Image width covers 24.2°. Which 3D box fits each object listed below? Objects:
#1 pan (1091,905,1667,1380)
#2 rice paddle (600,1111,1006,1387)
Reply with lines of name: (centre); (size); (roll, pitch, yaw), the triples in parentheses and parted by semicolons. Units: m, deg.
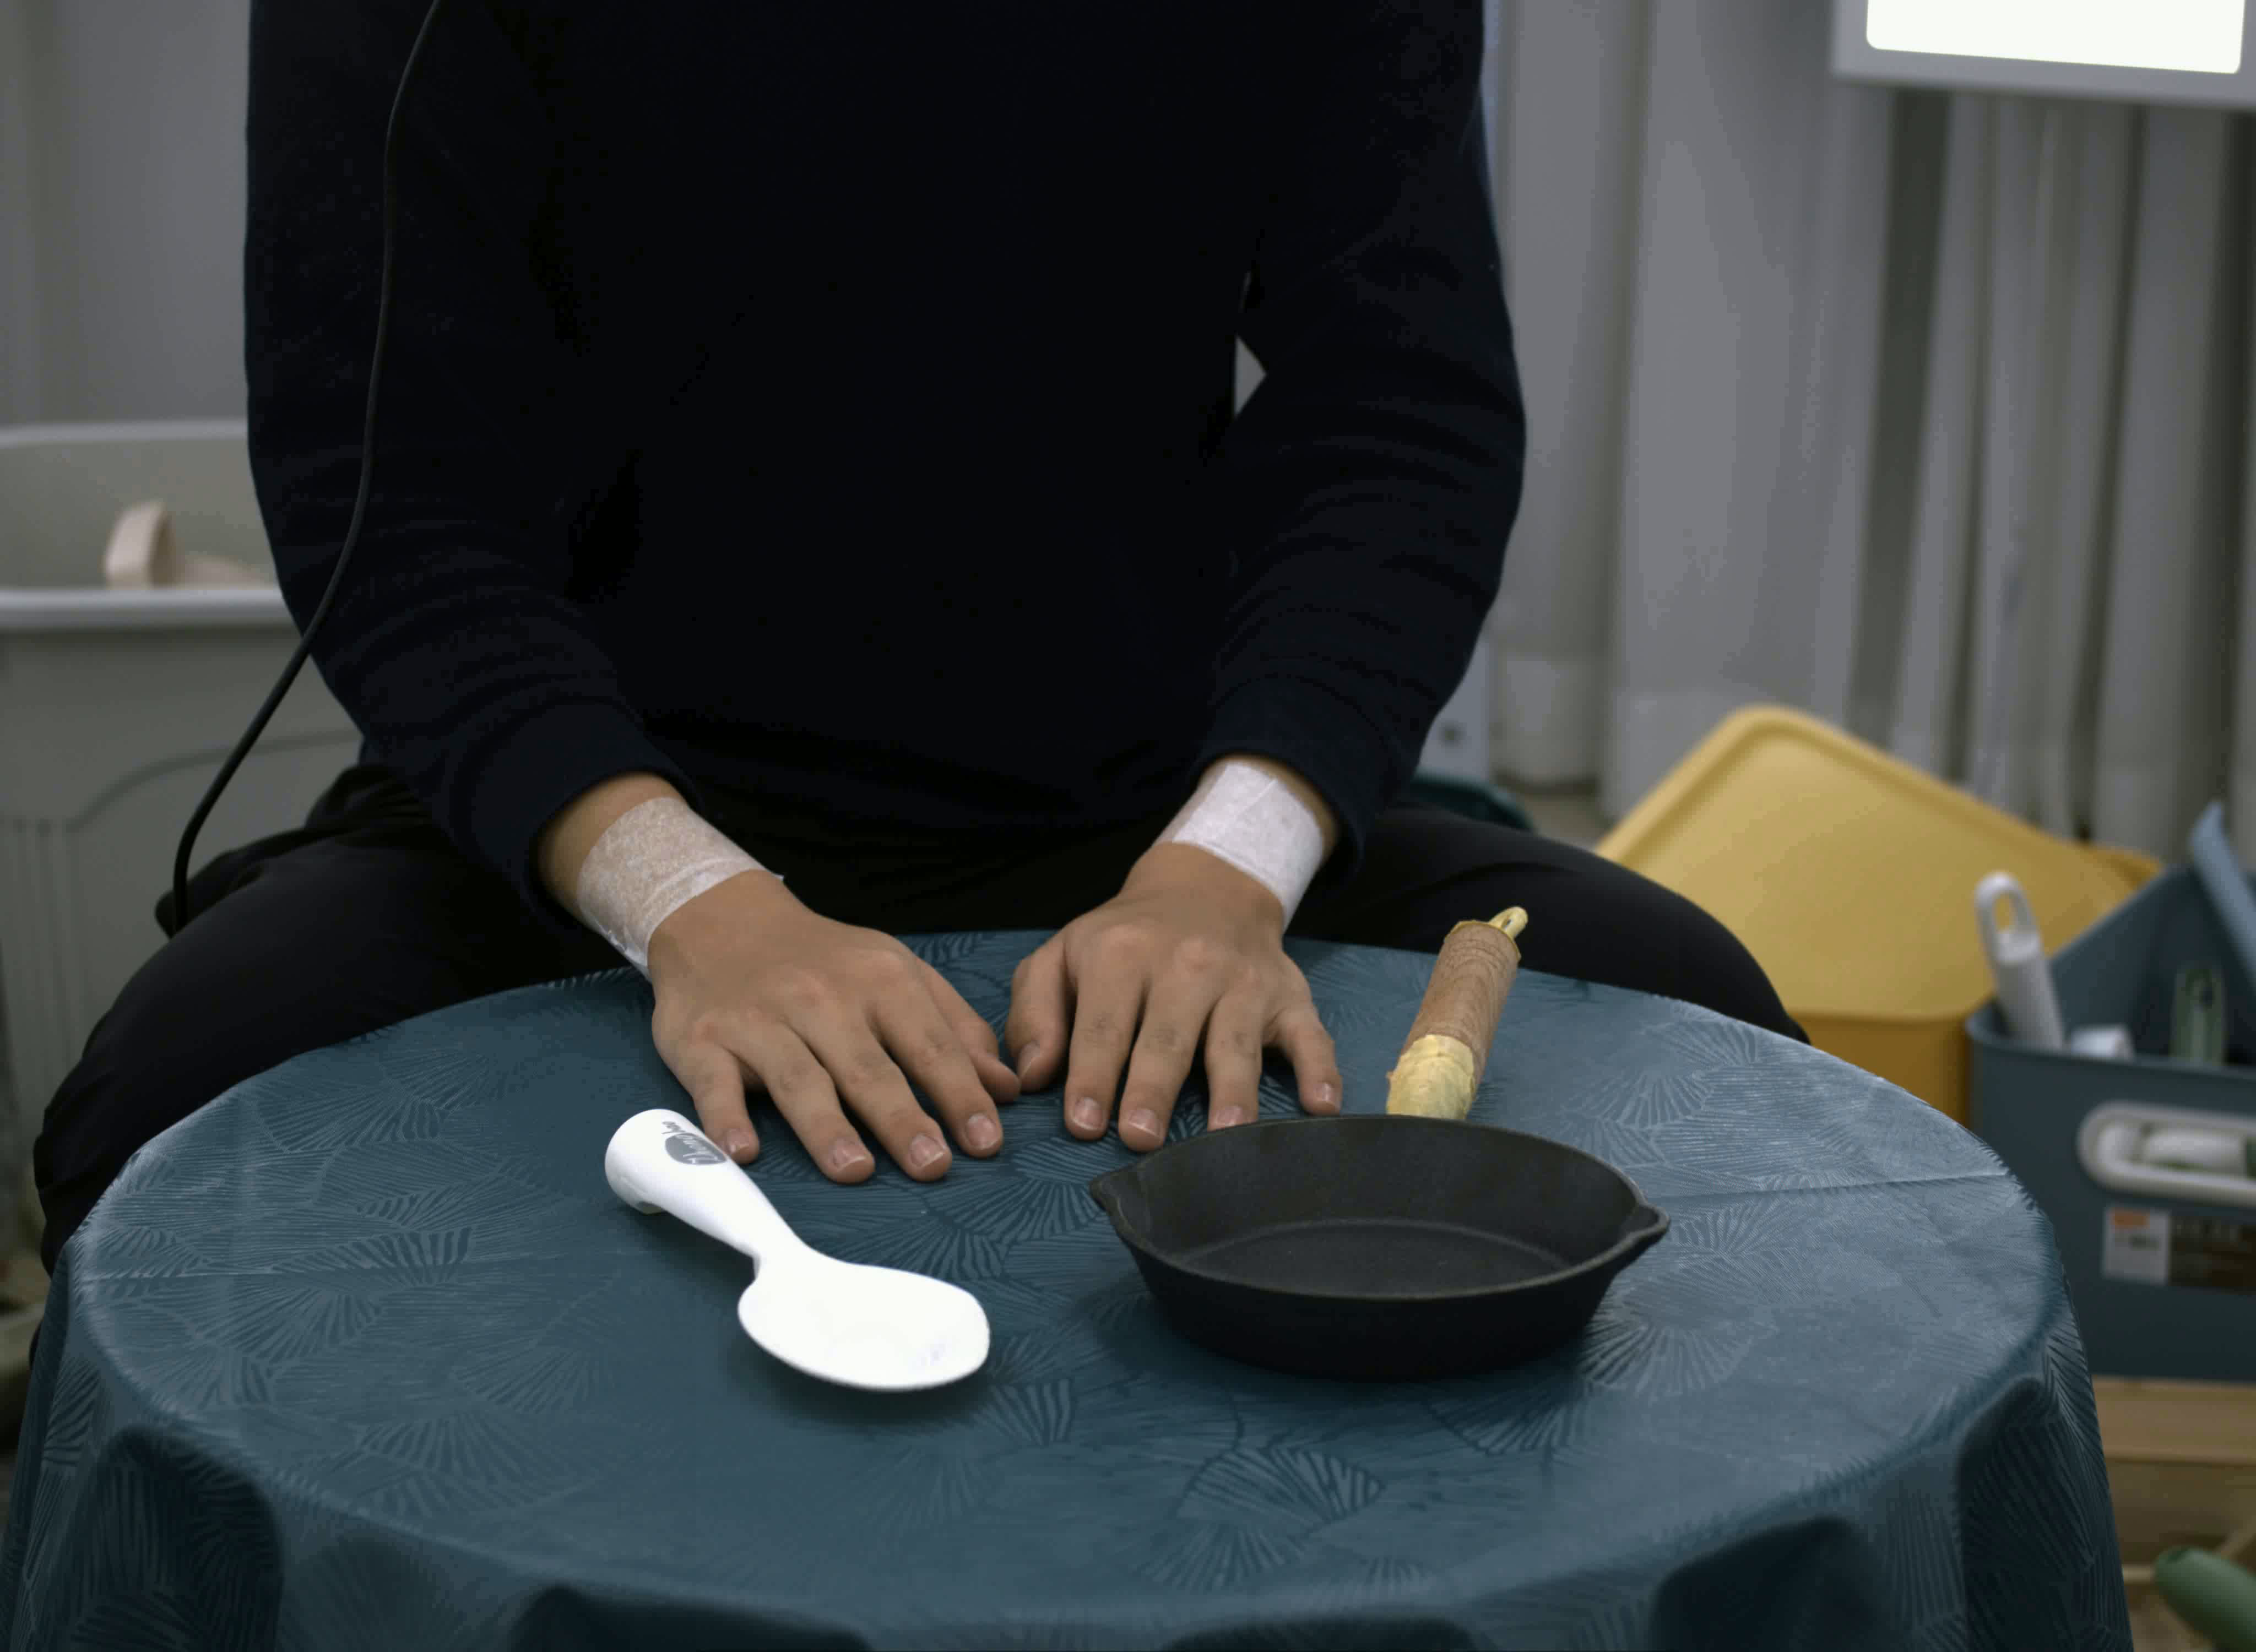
pan: (0.091, 0.092, 1.602); (0.168, 0.050, 0.323); (4, 17, 12)
rice paddle: (-0.099, 0.124, 1.523); (0.069, 0.029, 0.202); (-10, 18, -27)
